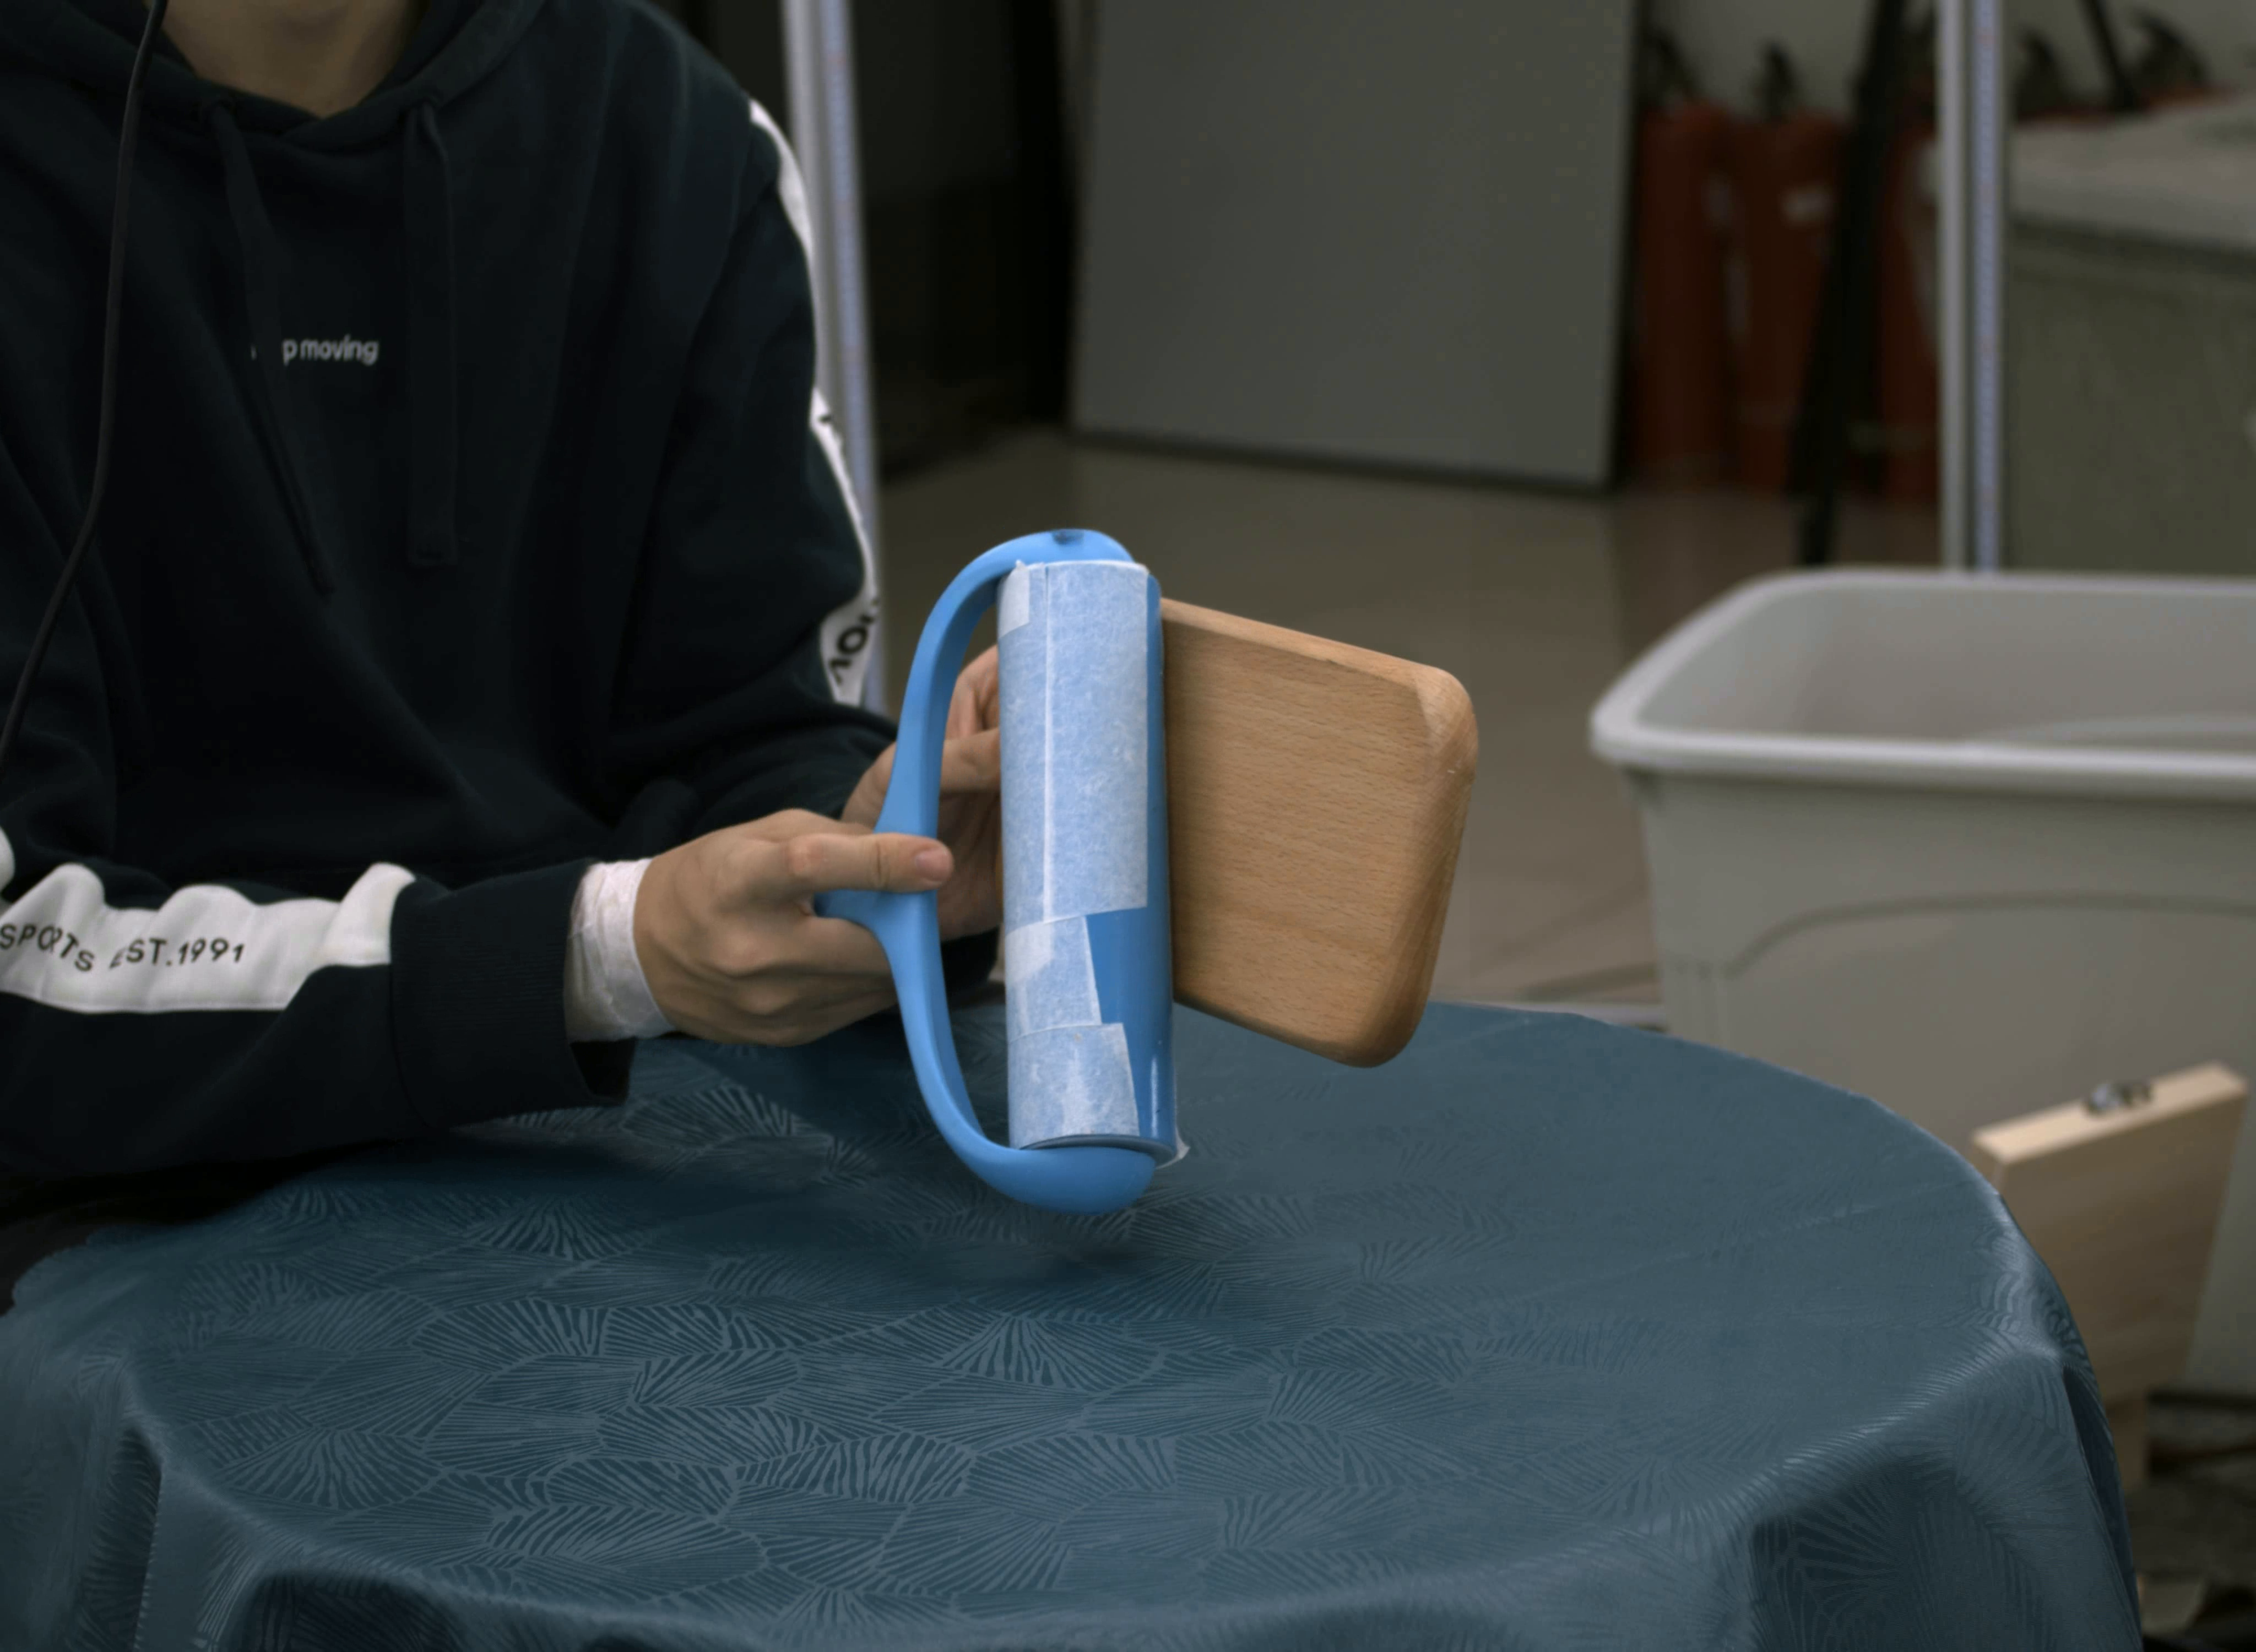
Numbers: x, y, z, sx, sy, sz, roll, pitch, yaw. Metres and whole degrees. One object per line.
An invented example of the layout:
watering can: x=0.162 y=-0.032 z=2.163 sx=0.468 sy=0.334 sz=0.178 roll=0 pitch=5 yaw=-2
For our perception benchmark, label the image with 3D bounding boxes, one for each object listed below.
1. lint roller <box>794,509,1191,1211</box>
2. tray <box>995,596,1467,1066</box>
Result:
lint roller: x=-0.058 y=0.024 z=1.754 sx=0.181 sy=0.232 sz=0.066 roll=-19 pitch=-22 yaw=36
tray: x=0.027 y=-0.004 z=1.726 sx=0.022 sy=0.132 sz=0.253 roll=13 pitch=1 yaw=-31
